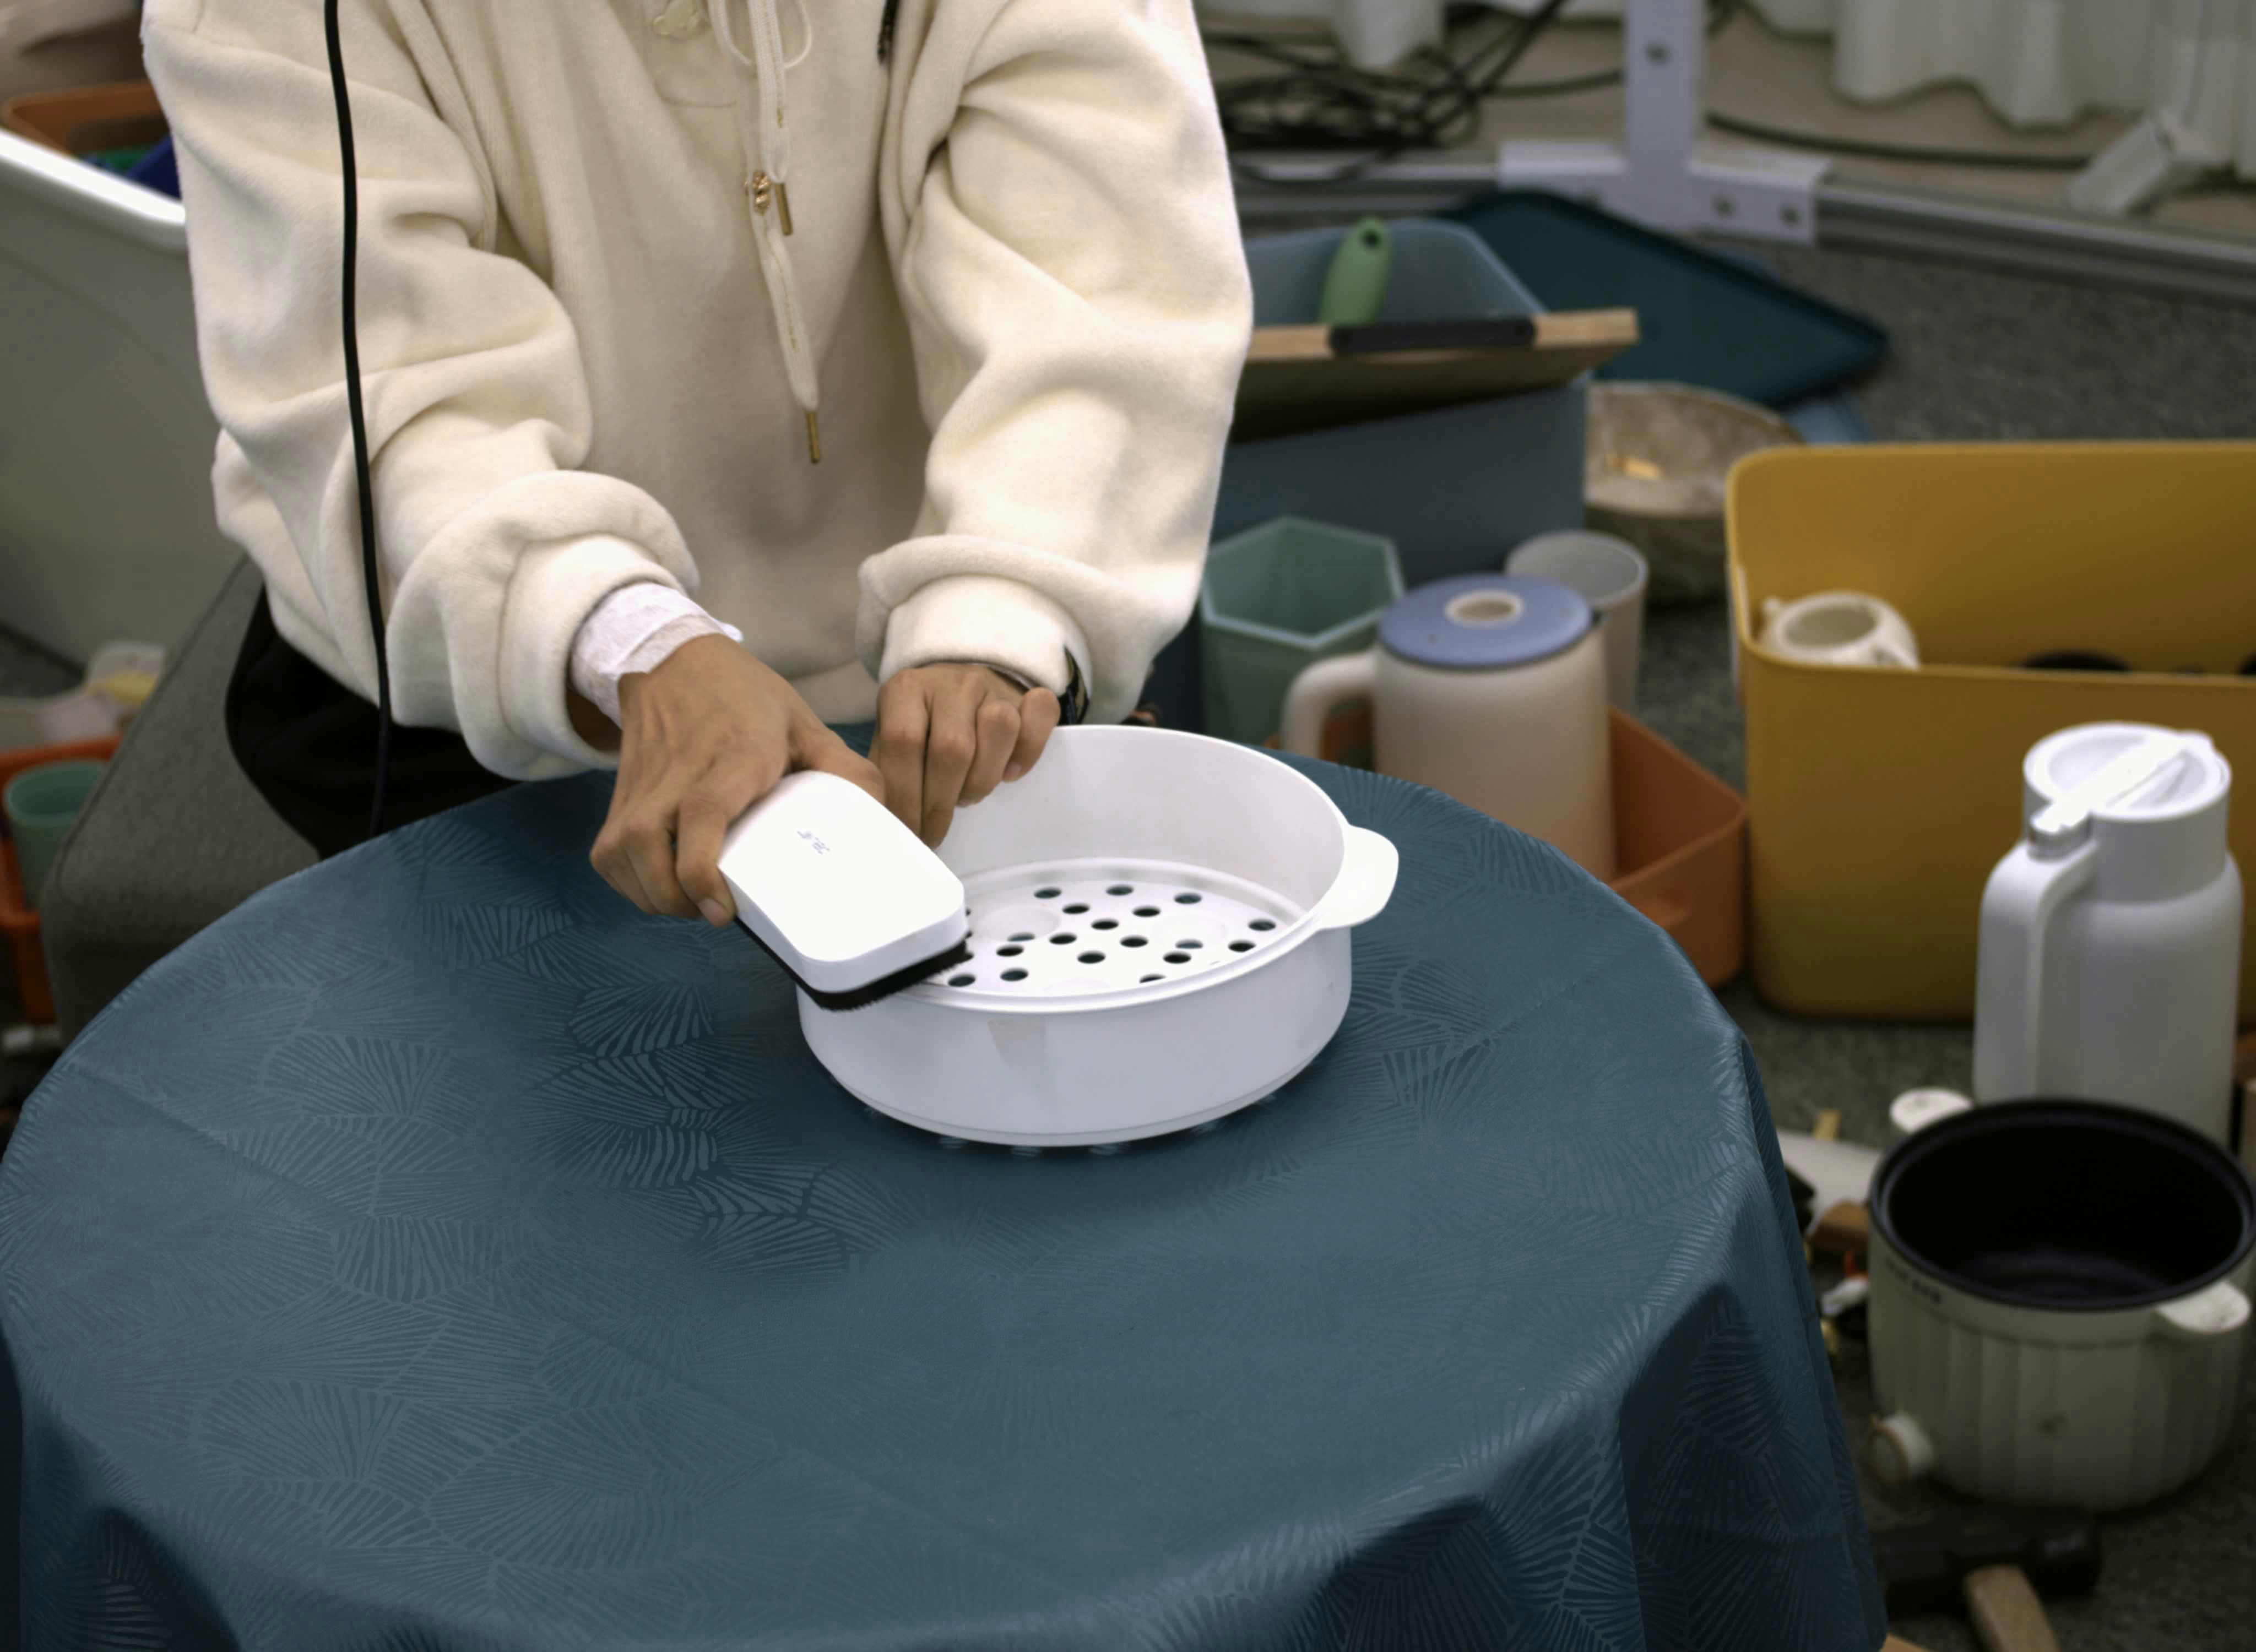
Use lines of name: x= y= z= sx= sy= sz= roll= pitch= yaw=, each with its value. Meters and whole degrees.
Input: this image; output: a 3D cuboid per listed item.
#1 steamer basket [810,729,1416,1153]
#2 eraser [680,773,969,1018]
steamer basket: x=-0.015 y=0.039 z=1.950 sx=0.229 sy=0.068 sz=0.205 roll=3 pitch=28 yaw=9
eraser: x=-0.101 y=0.020 z=1.891 sx=0.064 sy=0.034 sz=0.132 roll=-21 pitch=30 yaw=-18
